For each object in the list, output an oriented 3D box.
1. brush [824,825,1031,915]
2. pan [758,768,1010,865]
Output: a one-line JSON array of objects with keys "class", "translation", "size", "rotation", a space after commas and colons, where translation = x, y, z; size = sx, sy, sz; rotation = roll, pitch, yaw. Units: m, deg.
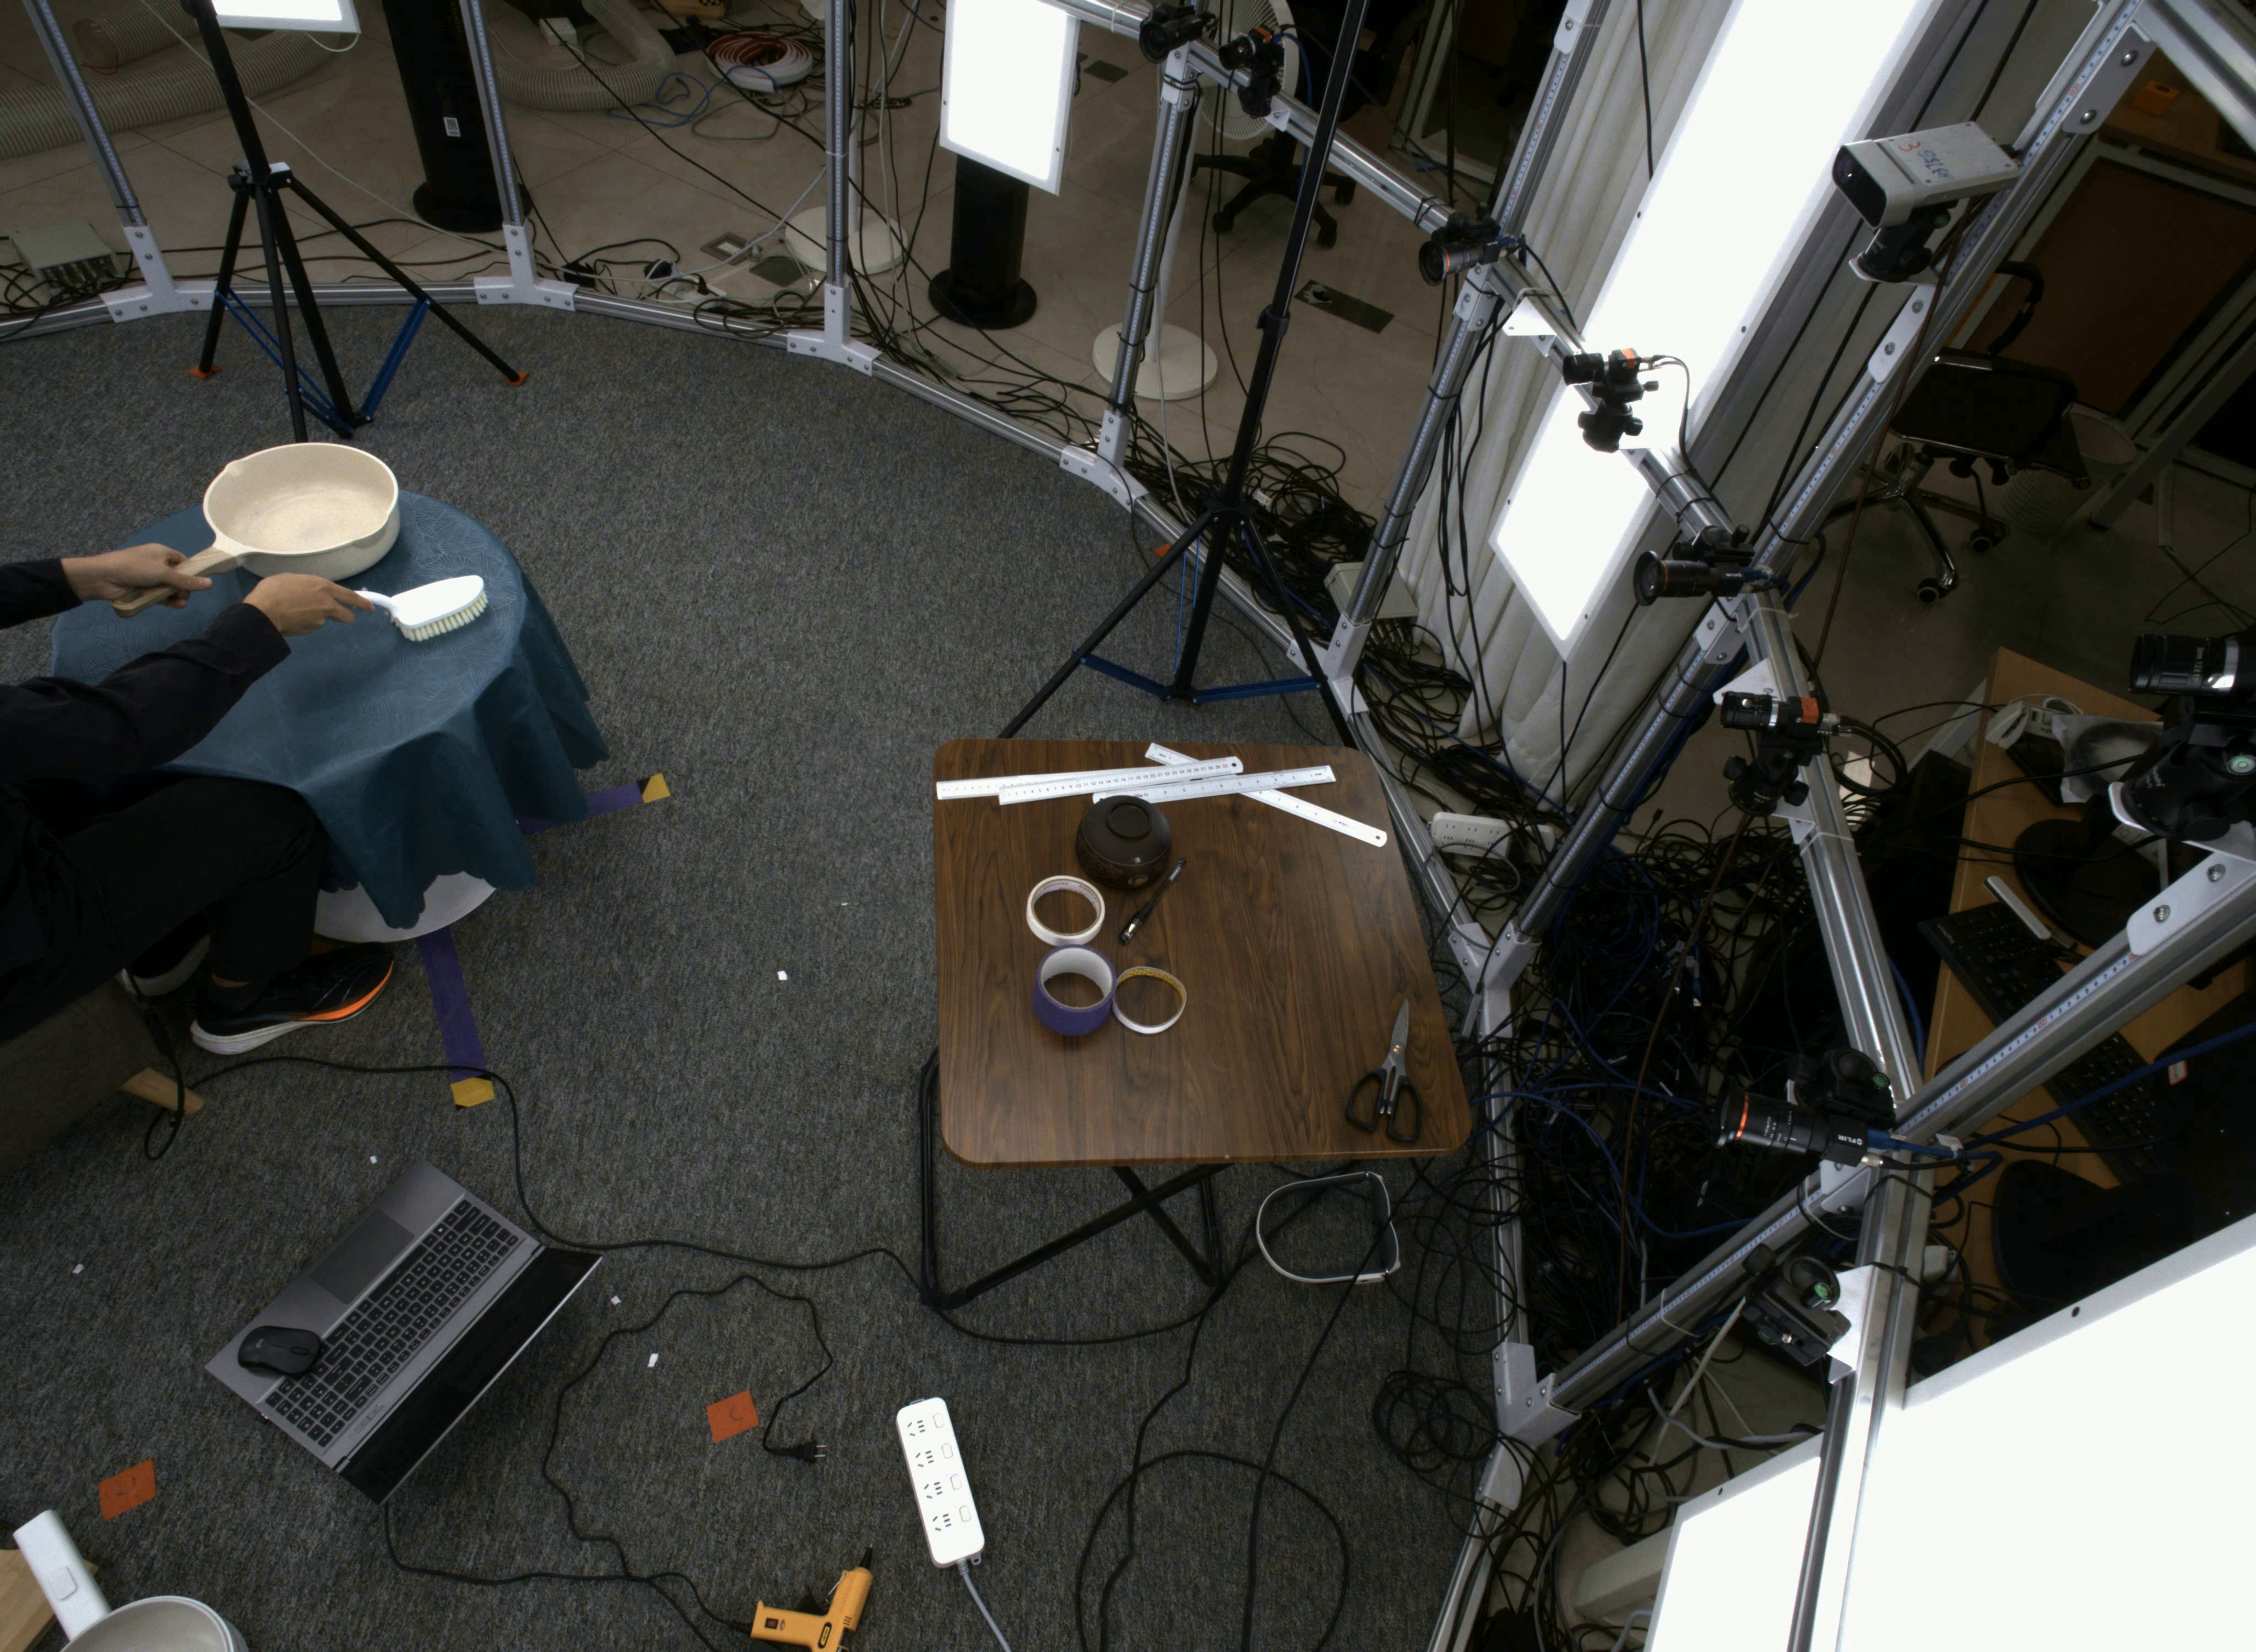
[{"class": "brush", "translation": [-0.306, 0.078, 1.974], "size": [0.329, 0.084, 0.082], "rotation": [15, -16, -18]}, {"class": "pan", "translation": [-0.398, -0.007, 2.132], "size": [0.440, 0.105, 0.253], "rotation": [-11, 30, -36]}]
